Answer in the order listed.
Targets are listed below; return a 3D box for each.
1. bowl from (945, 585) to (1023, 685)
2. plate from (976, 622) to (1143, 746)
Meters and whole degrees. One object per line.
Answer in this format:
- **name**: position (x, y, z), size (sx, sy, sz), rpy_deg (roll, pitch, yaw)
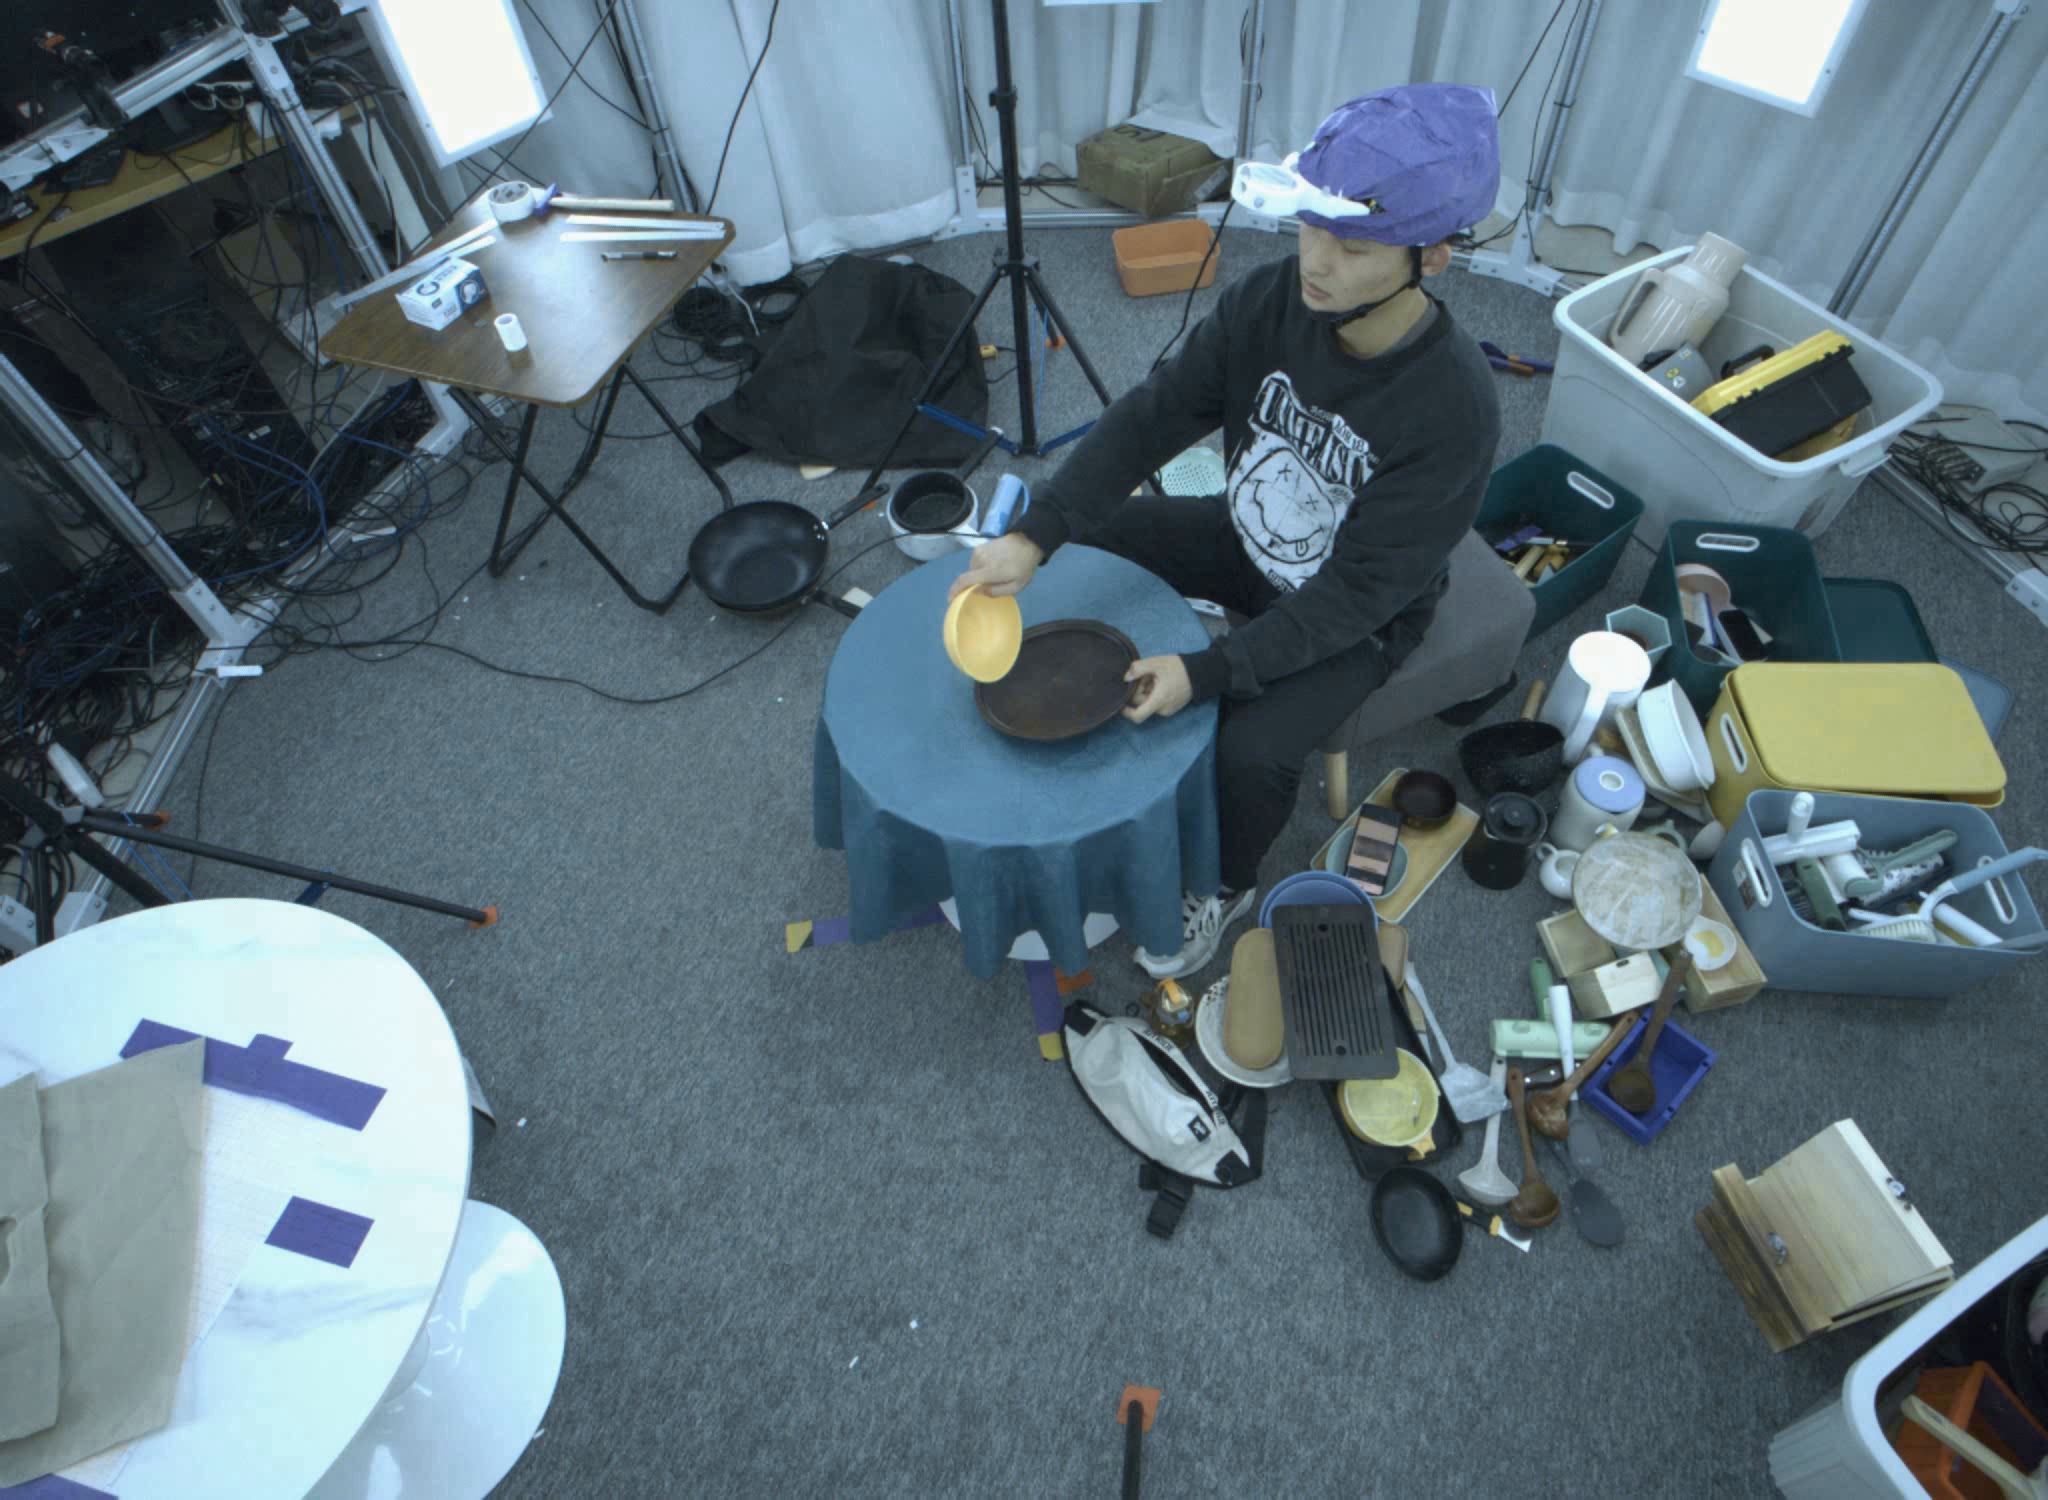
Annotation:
- **bowl**: position (-0.069, -0.166, 1.766), size (0.059, 0.148, 0.146), rpy_deg (9, 52, 39)
- **plate**: position (0.052, -0.099, 1.826), size (0.253, 0.029, 0.252), rpy_deg (-7, 45, 9)
